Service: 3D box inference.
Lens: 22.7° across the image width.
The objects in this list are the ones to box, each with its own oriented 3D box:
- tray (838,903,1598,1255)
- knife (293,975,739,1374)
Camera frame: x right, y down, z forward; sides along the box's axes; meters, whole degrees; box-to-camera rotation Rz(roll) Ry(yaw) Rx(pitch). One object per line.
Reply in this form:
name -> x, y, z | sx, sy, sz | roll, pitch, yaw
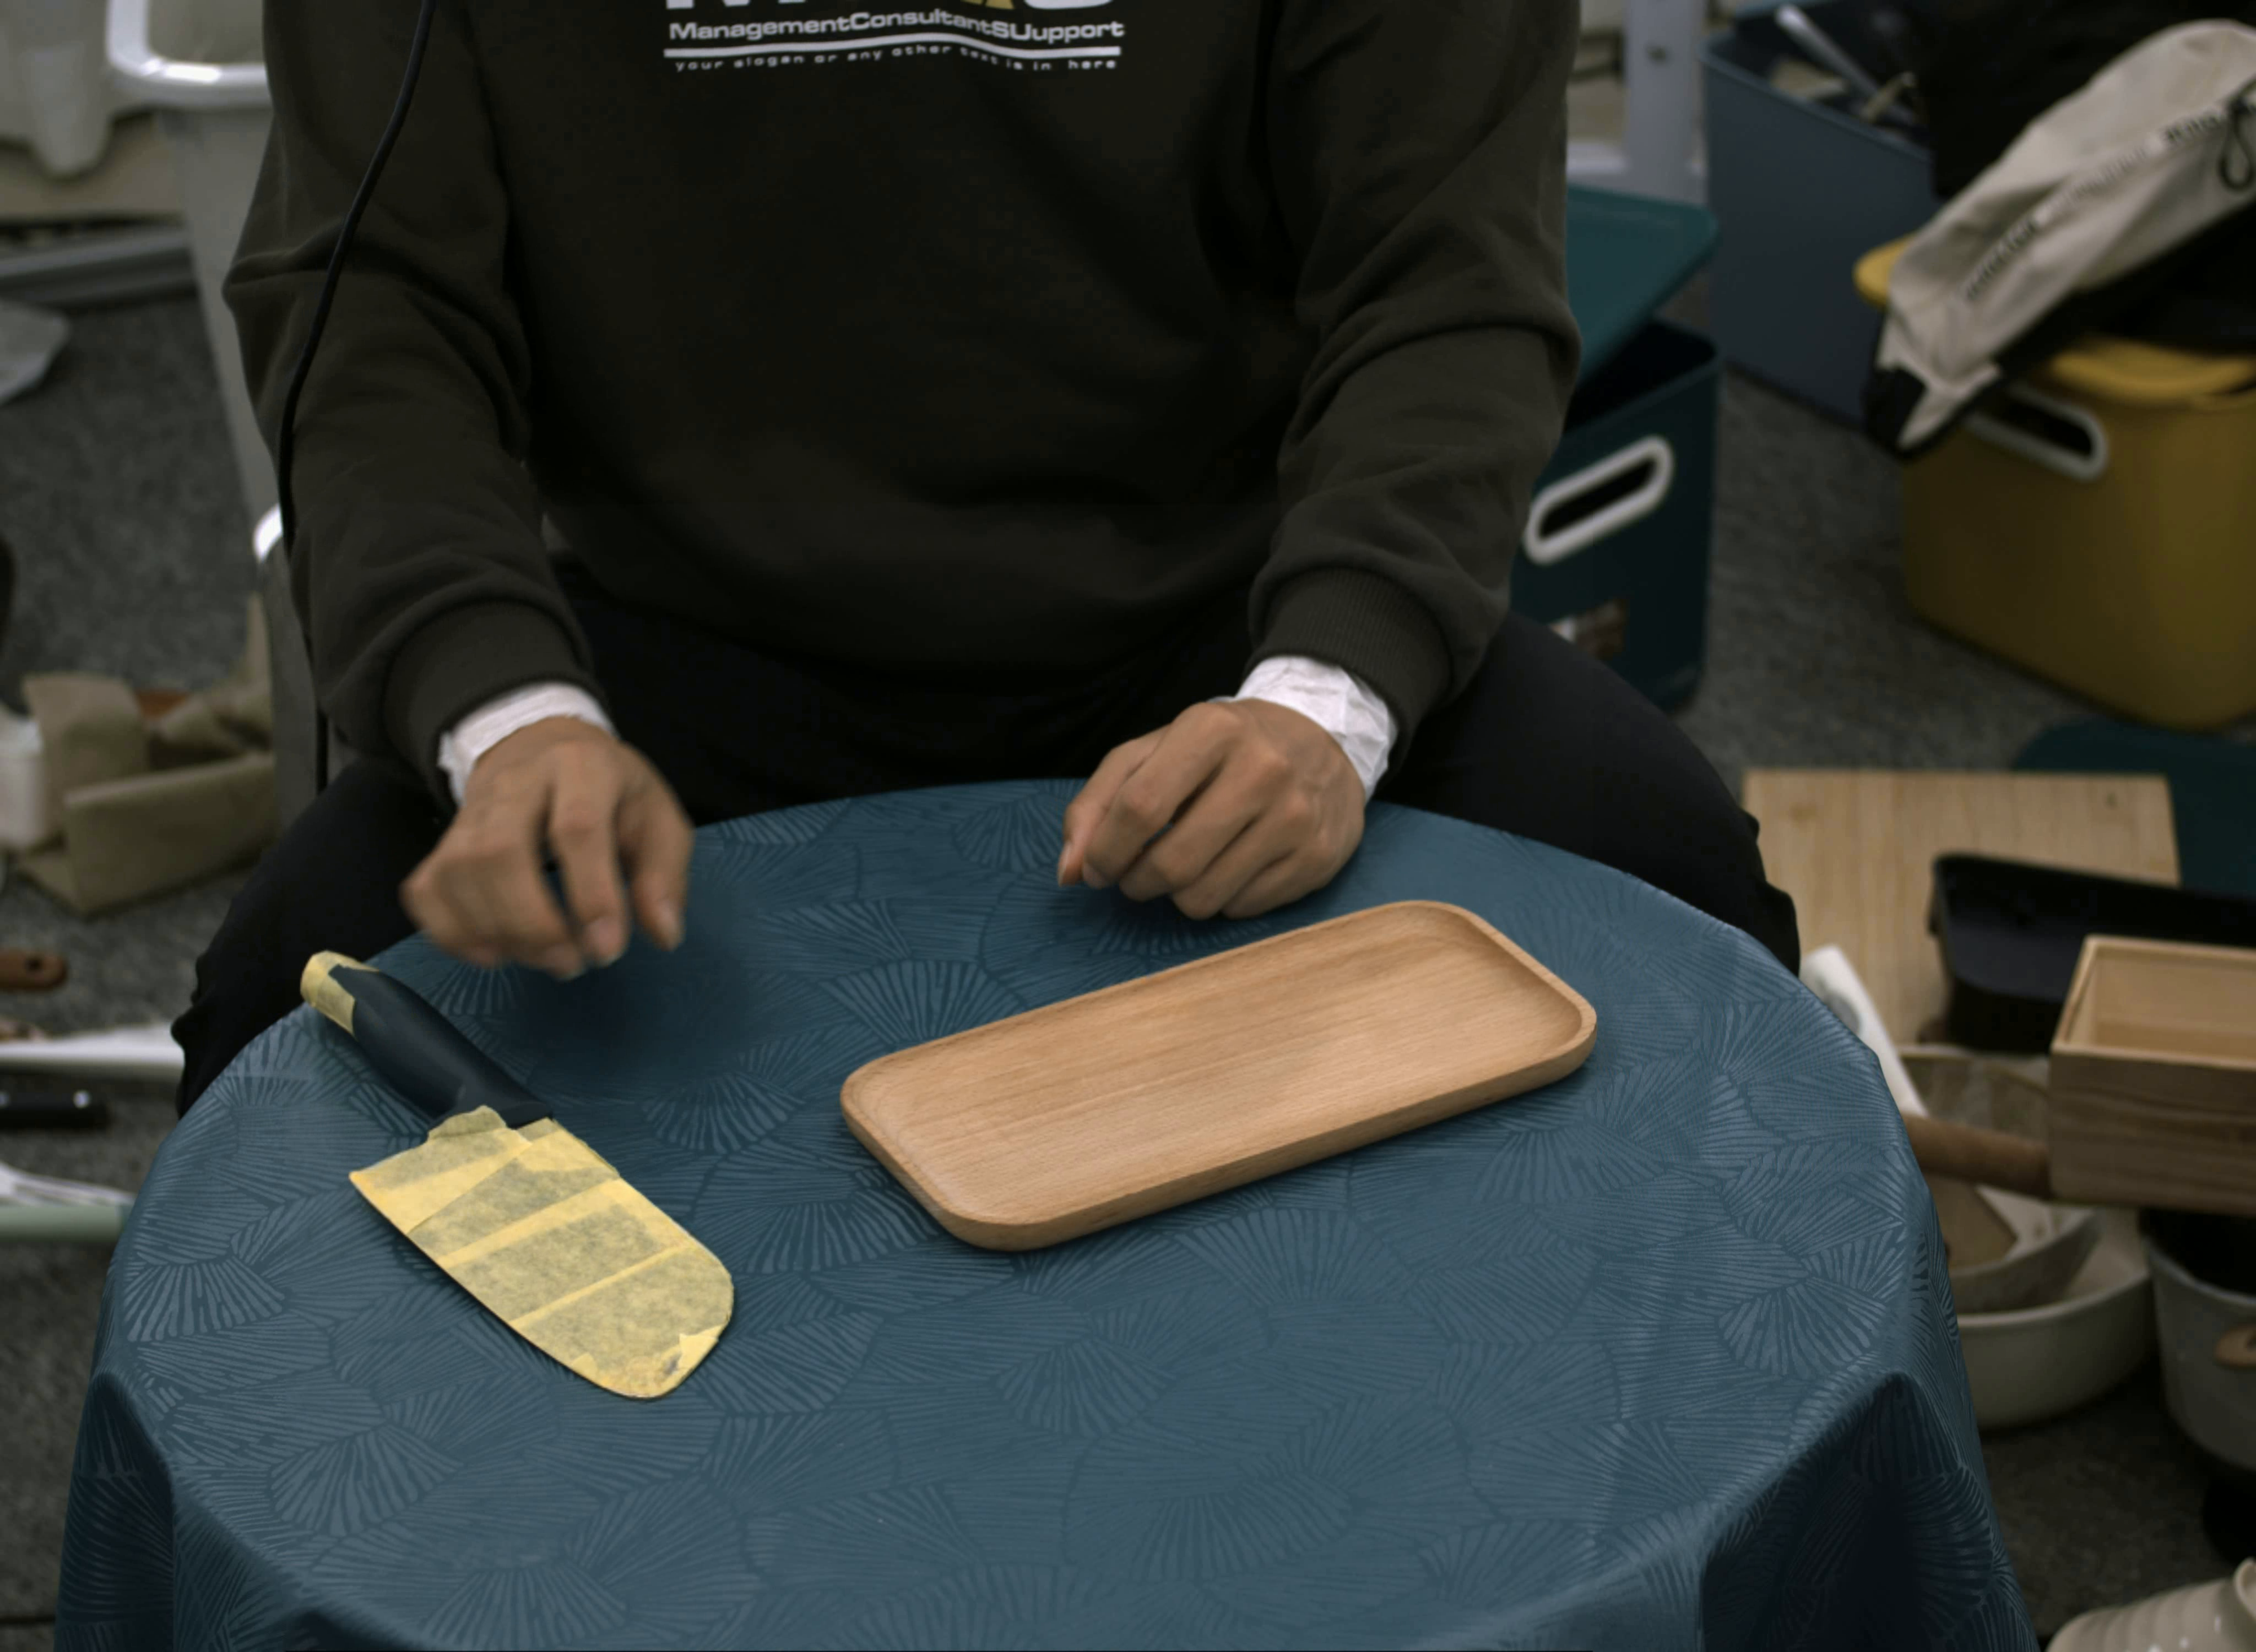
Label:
tray -> 0.032, 0.085, 1.912 | 0.252, 0.022, 0.131 | -16, 27, -24
knife -> -0.217, 0.117, 1.875 | 0.081, 0.027, 0.290 | -18, 32, -28
